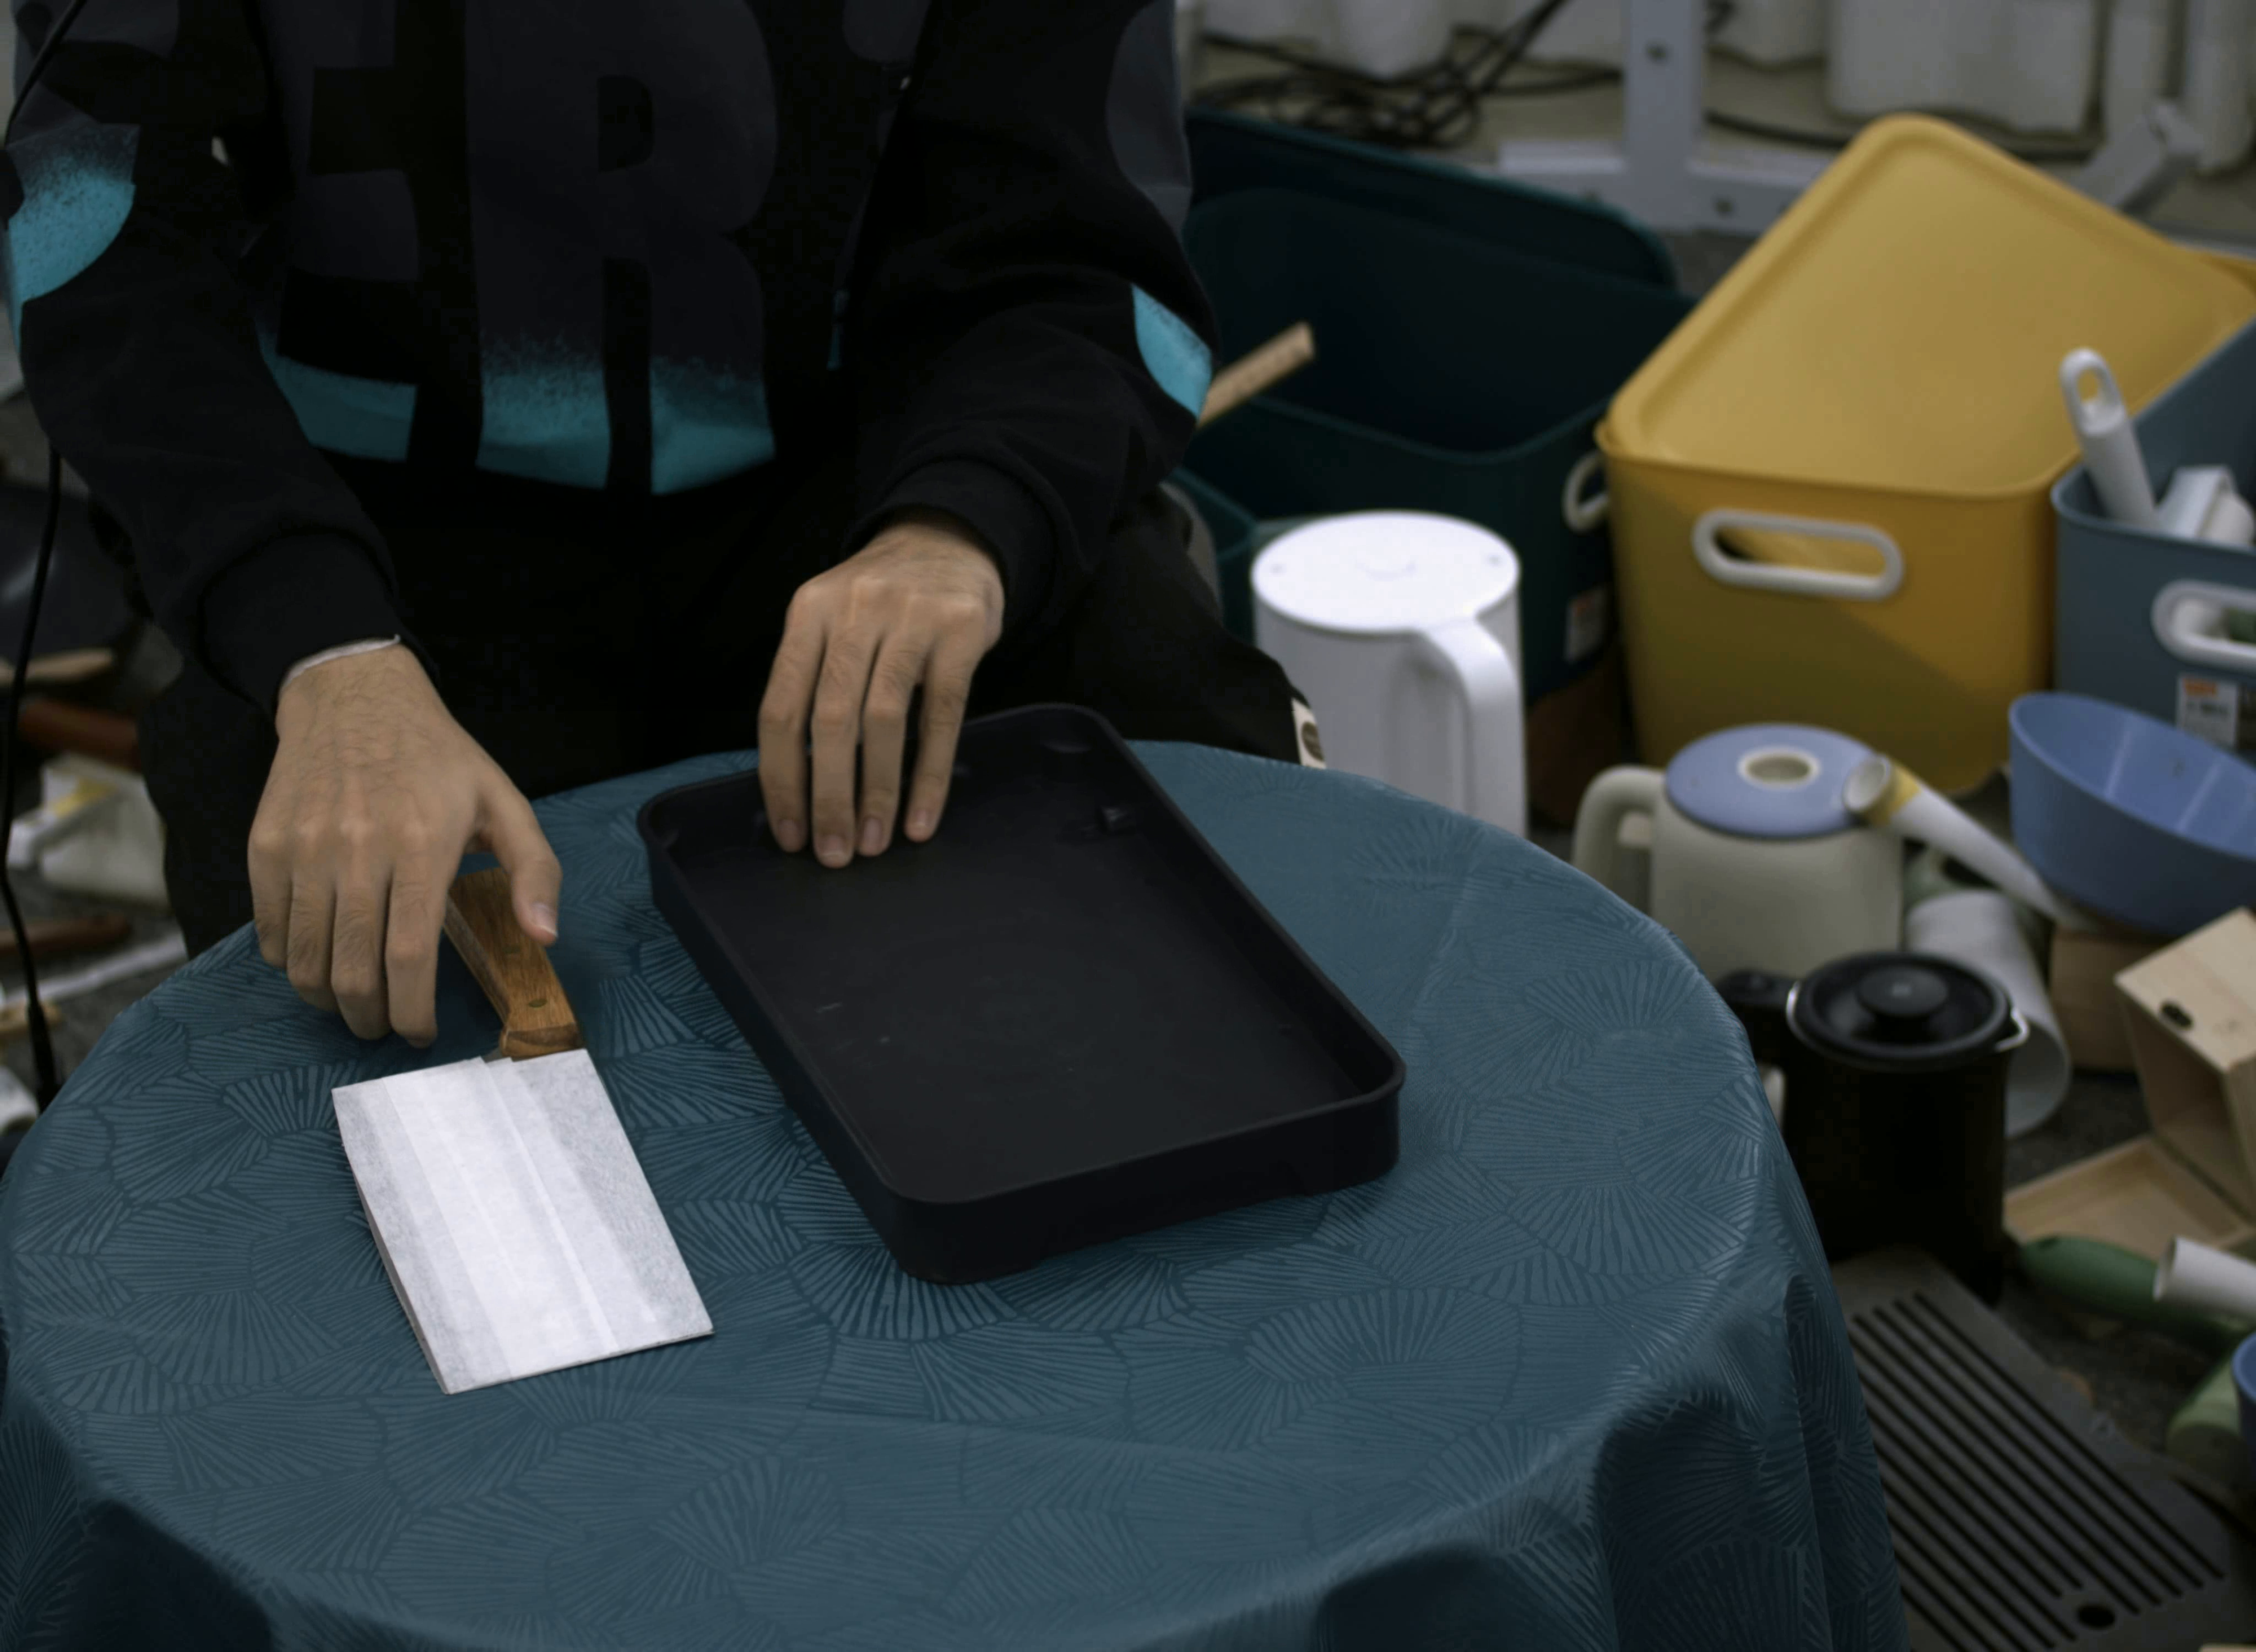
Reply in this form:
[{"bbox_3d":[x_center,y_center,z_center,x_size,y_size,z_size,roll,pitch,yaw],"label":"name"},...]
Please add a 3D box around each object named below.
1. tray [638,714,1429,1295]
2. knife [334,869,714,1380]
[{"bbox_3d":[-0.038,0.056,1.954,0.185,0.036,0.320,-14,29,-19],"label":"tray"},{"bbox_3d":[-0.219,0.100,1.909,0.093,0.021,0.309,-12,31,-14],"label":"knife"}]
